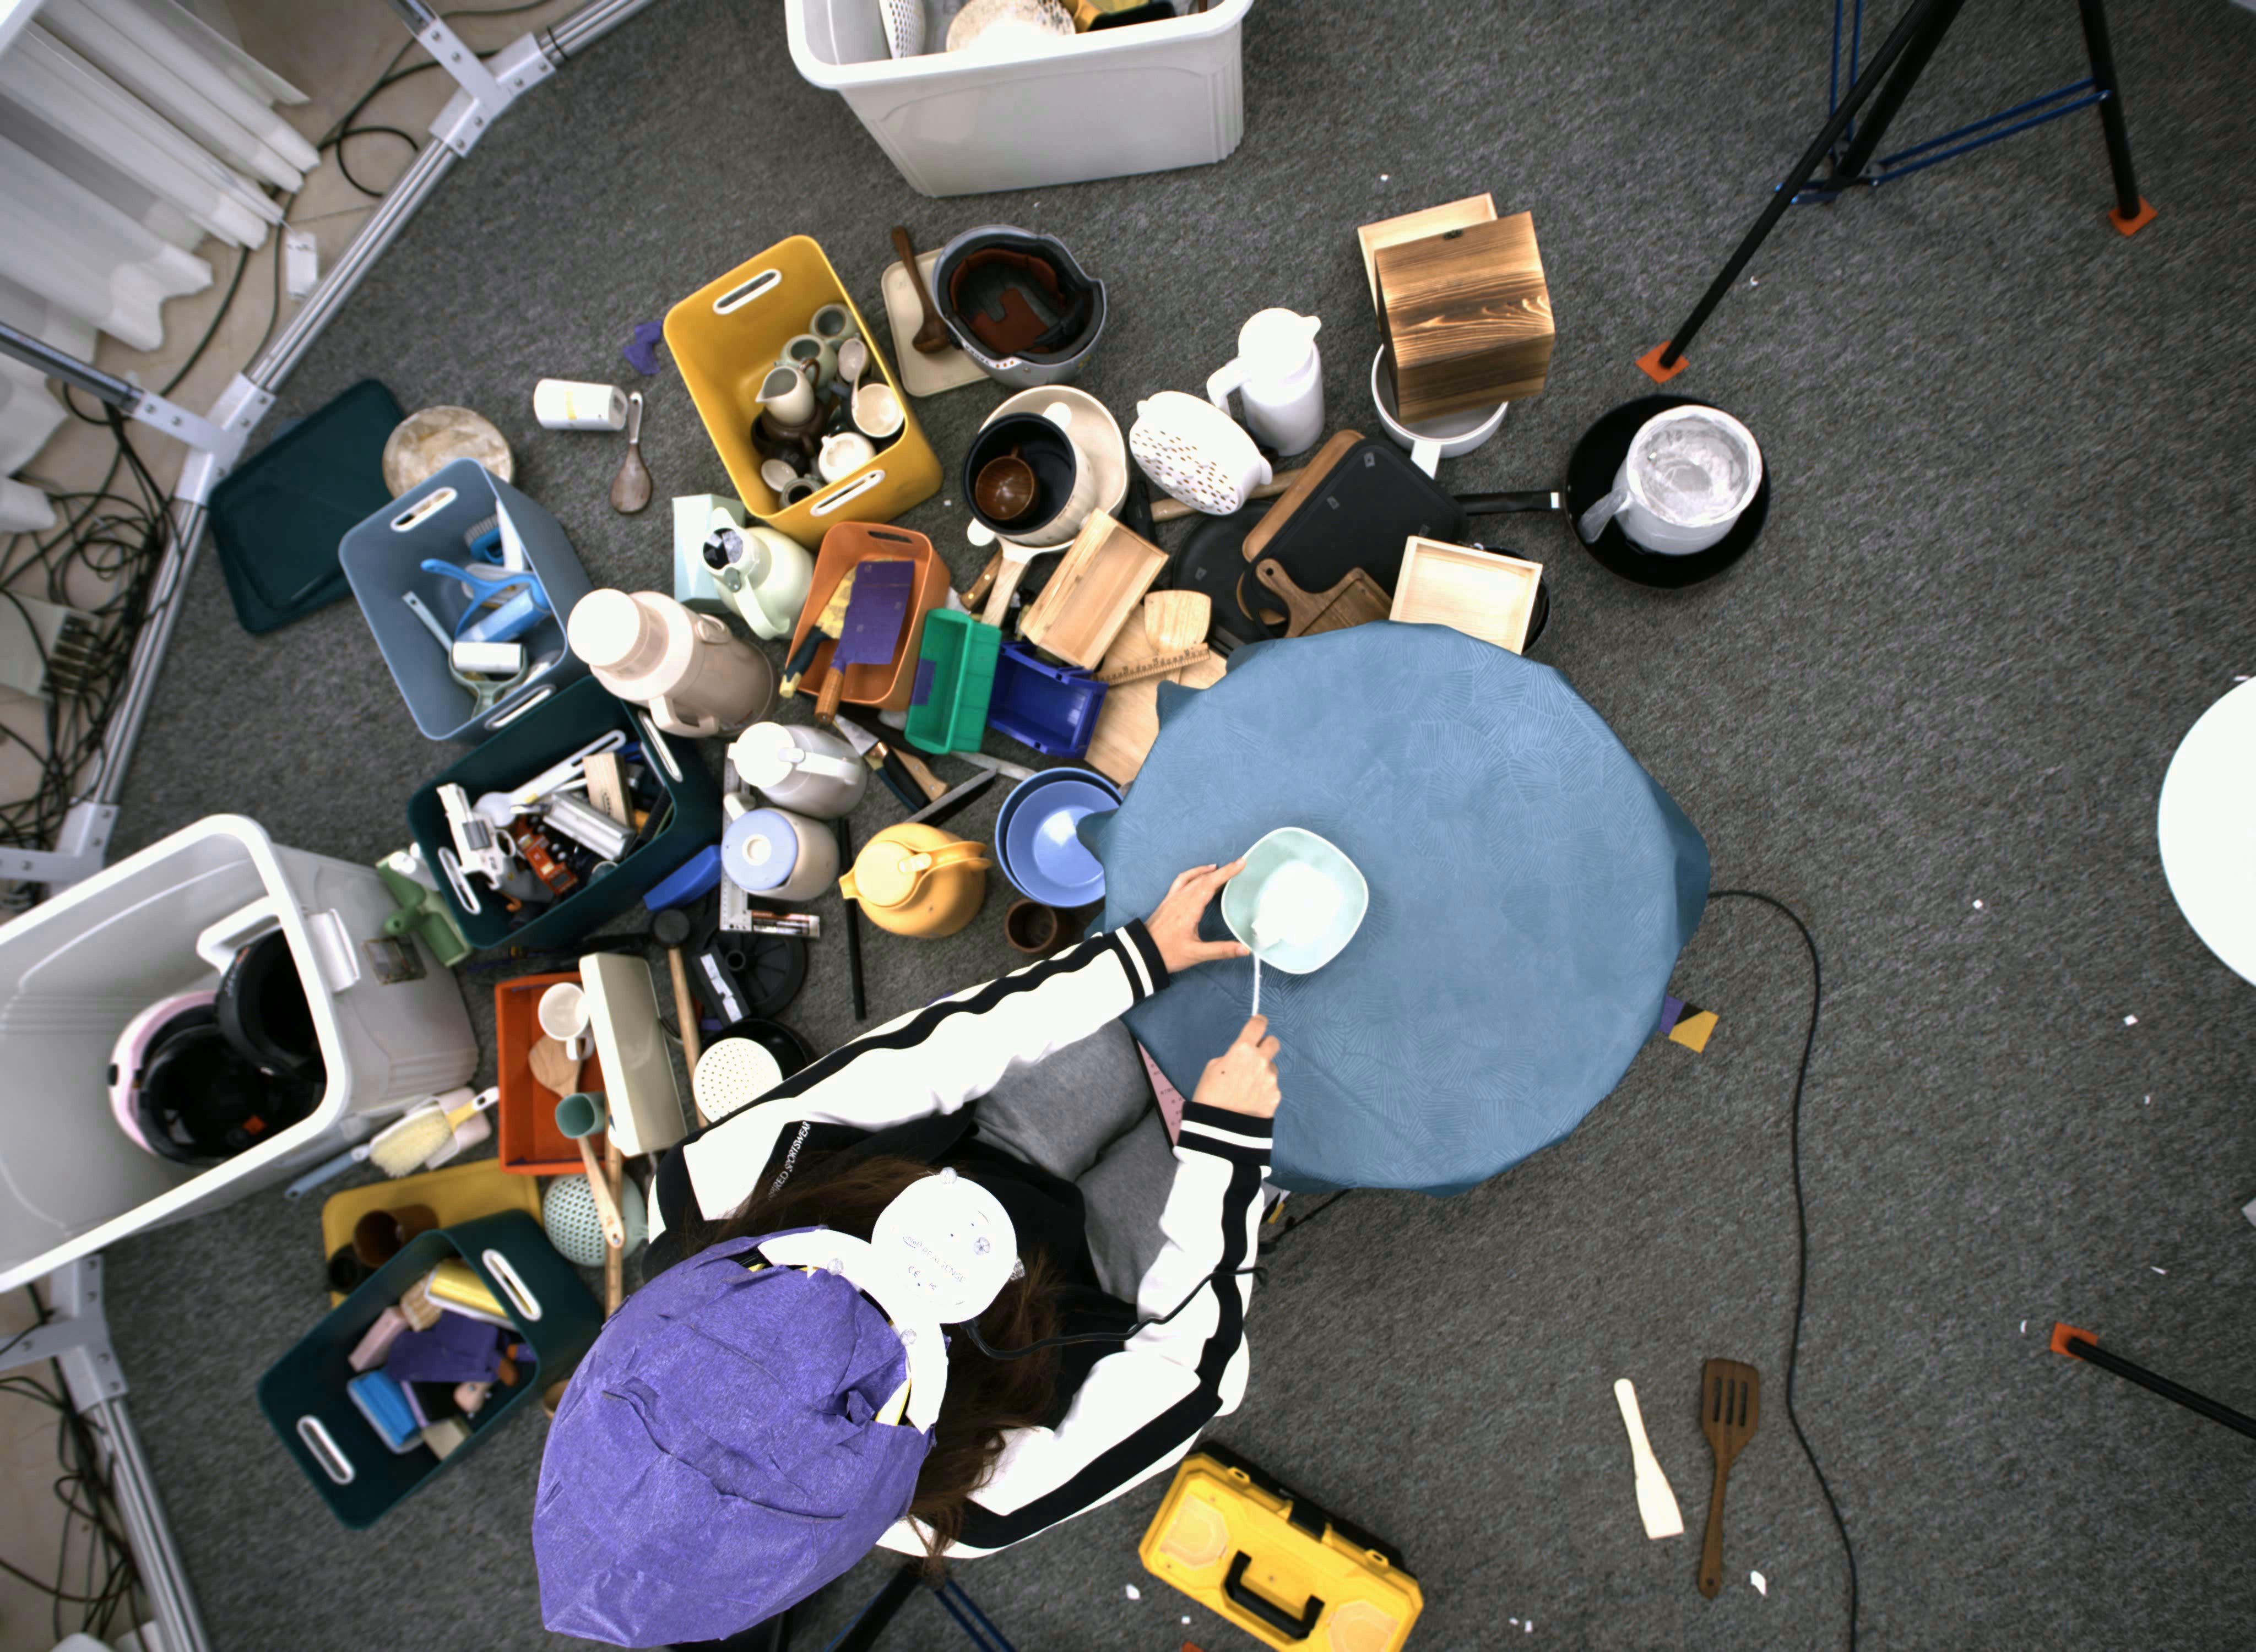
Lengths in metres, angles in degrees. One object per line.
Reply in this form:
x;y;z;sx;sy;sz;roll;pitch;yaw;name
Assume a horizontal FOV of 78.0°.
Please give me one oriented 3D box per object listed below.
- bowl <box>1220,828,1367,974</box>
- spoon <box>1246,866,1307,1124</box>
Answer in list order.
0.174;0.079;1.451;0.152;0.059;0.151;-1;86;10;bowl
0.148;0.162;1.371;0.060;0.102;0.270;-5;55;14;spoon
